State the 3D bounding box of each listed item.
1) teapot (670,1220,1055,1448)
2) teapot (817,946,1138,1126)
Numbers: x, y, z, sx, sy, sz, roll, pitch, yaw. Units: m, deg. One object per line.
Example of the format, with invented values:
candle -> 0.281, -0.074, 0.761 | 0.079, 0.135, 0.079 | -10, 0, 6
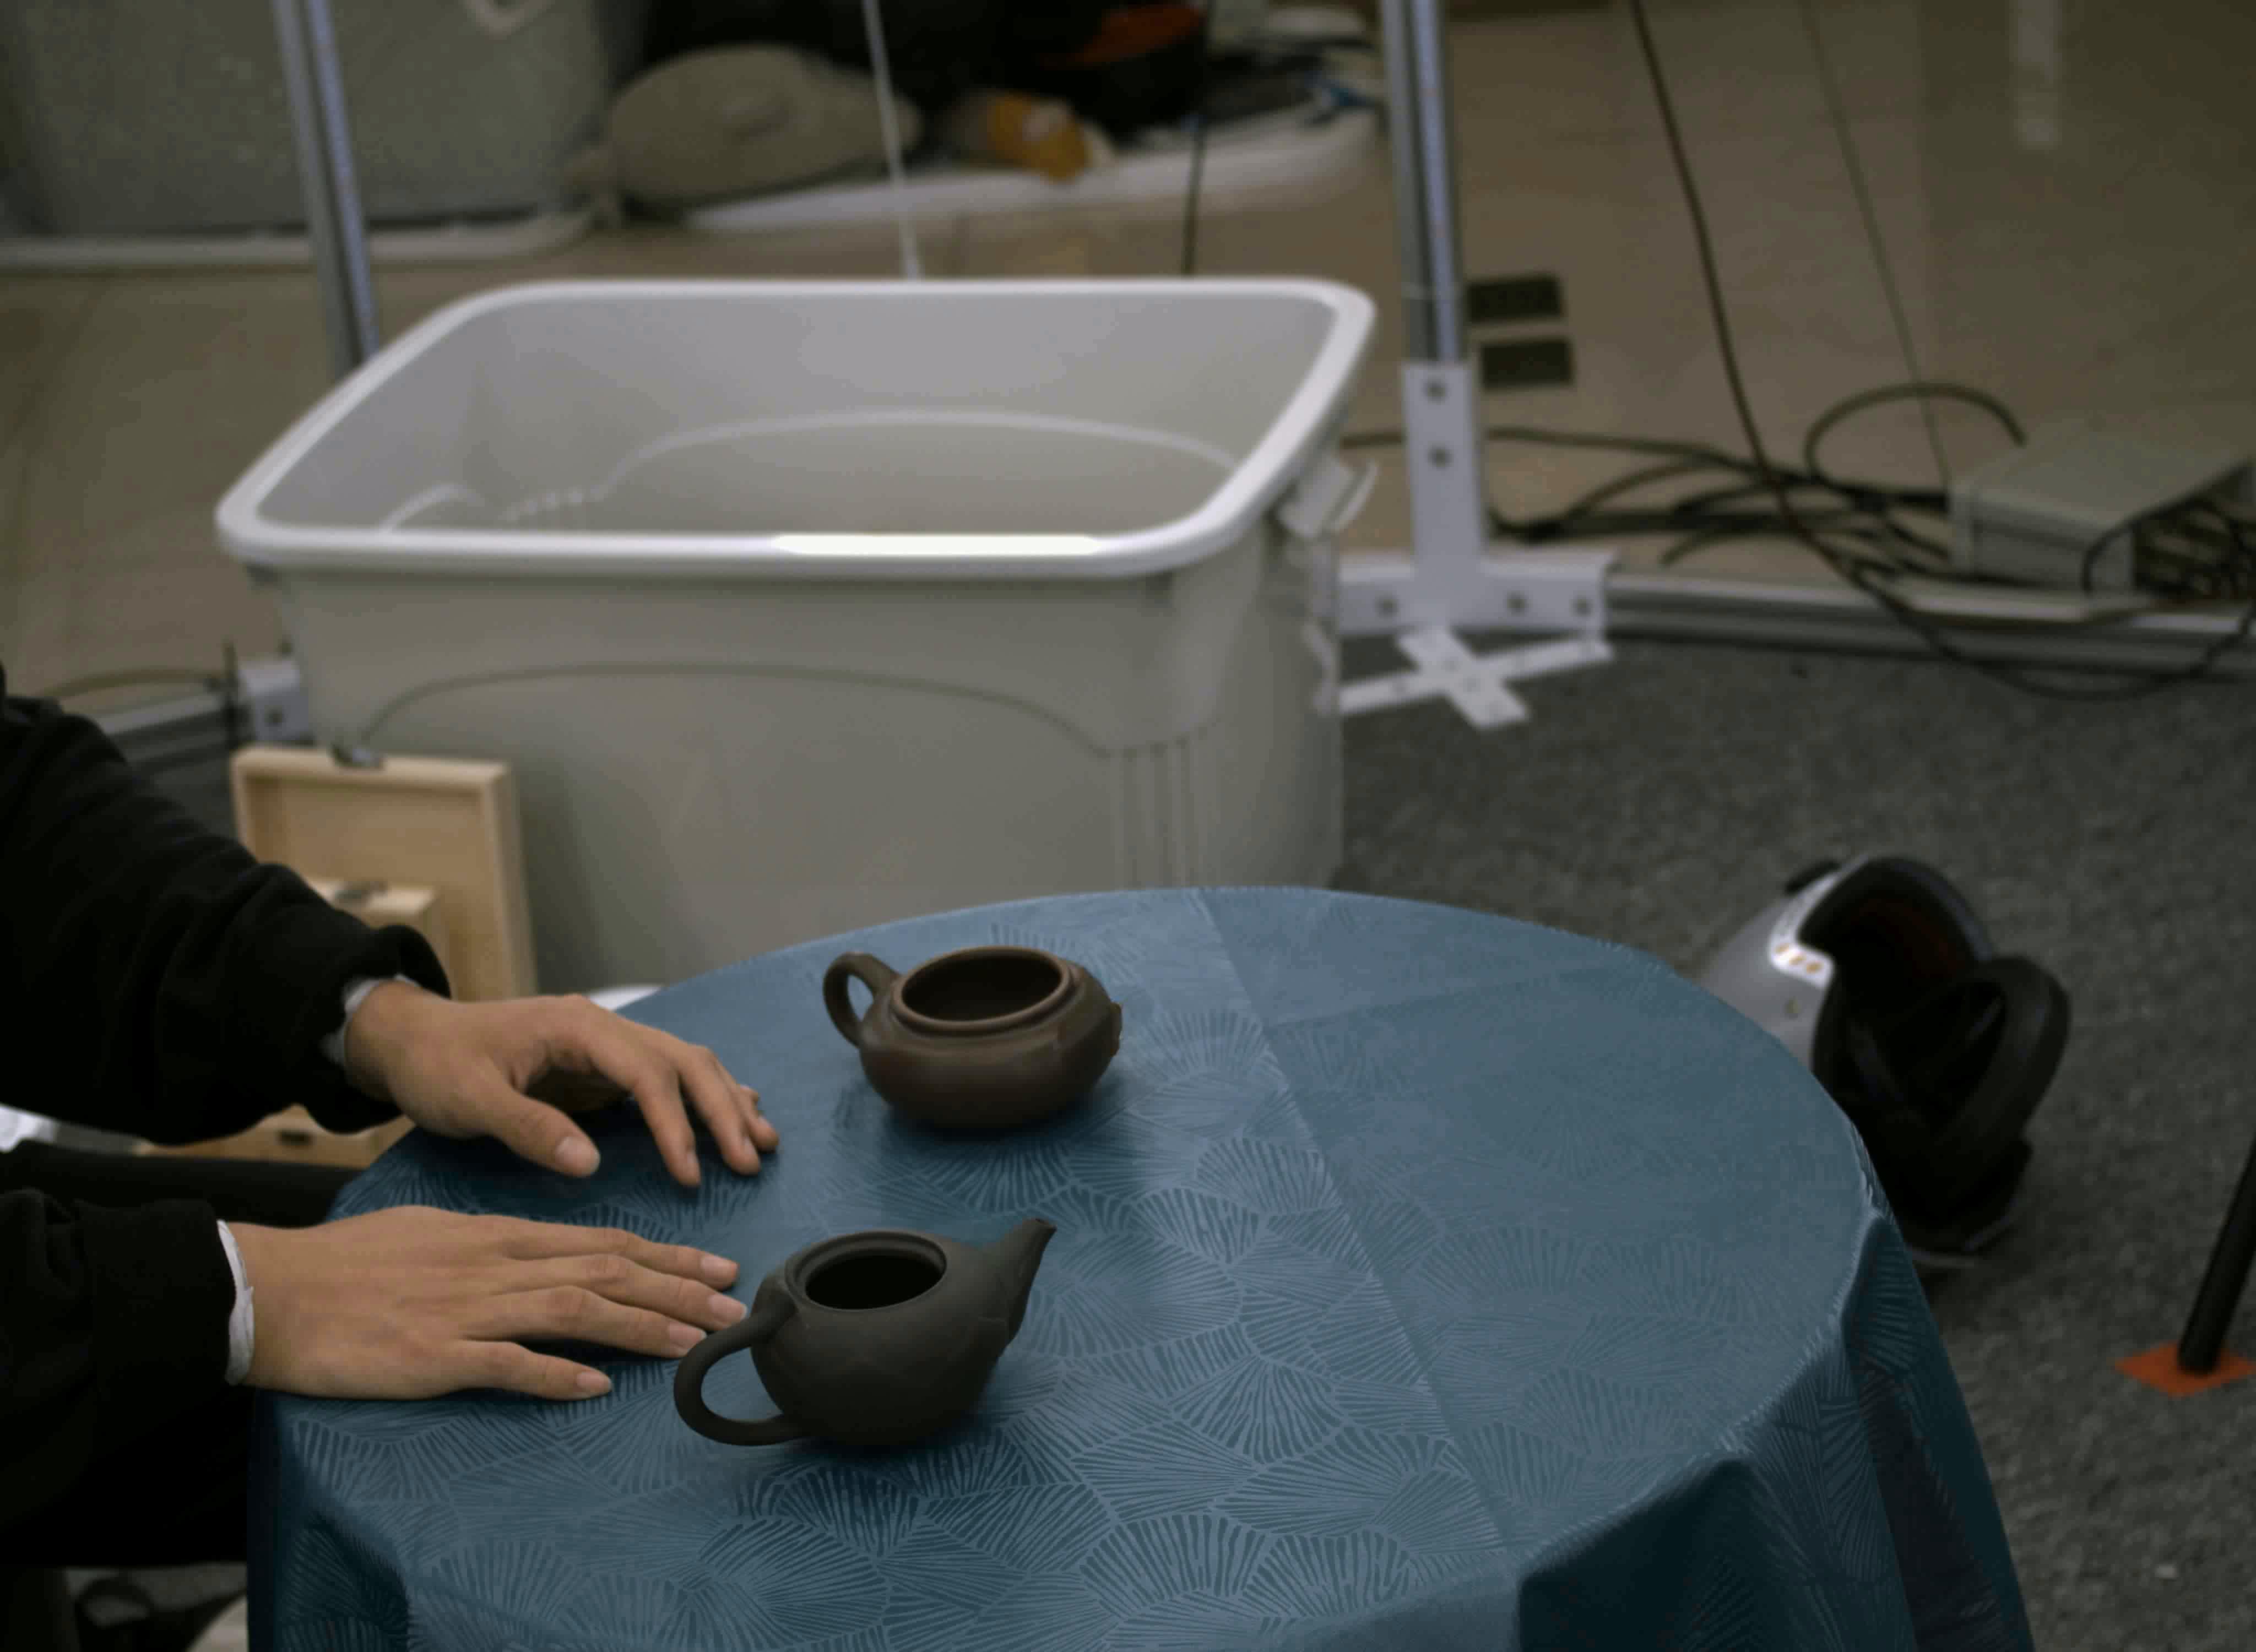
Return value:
teapot -> -0.091, 0.181, 2.006 | 0.153, 0.065, 0.091 | -18, 25, -24
teapot -> -0.059, 0.080, 2.225 | 0.153, 0.054, 0.101 | 10, 27, 30
